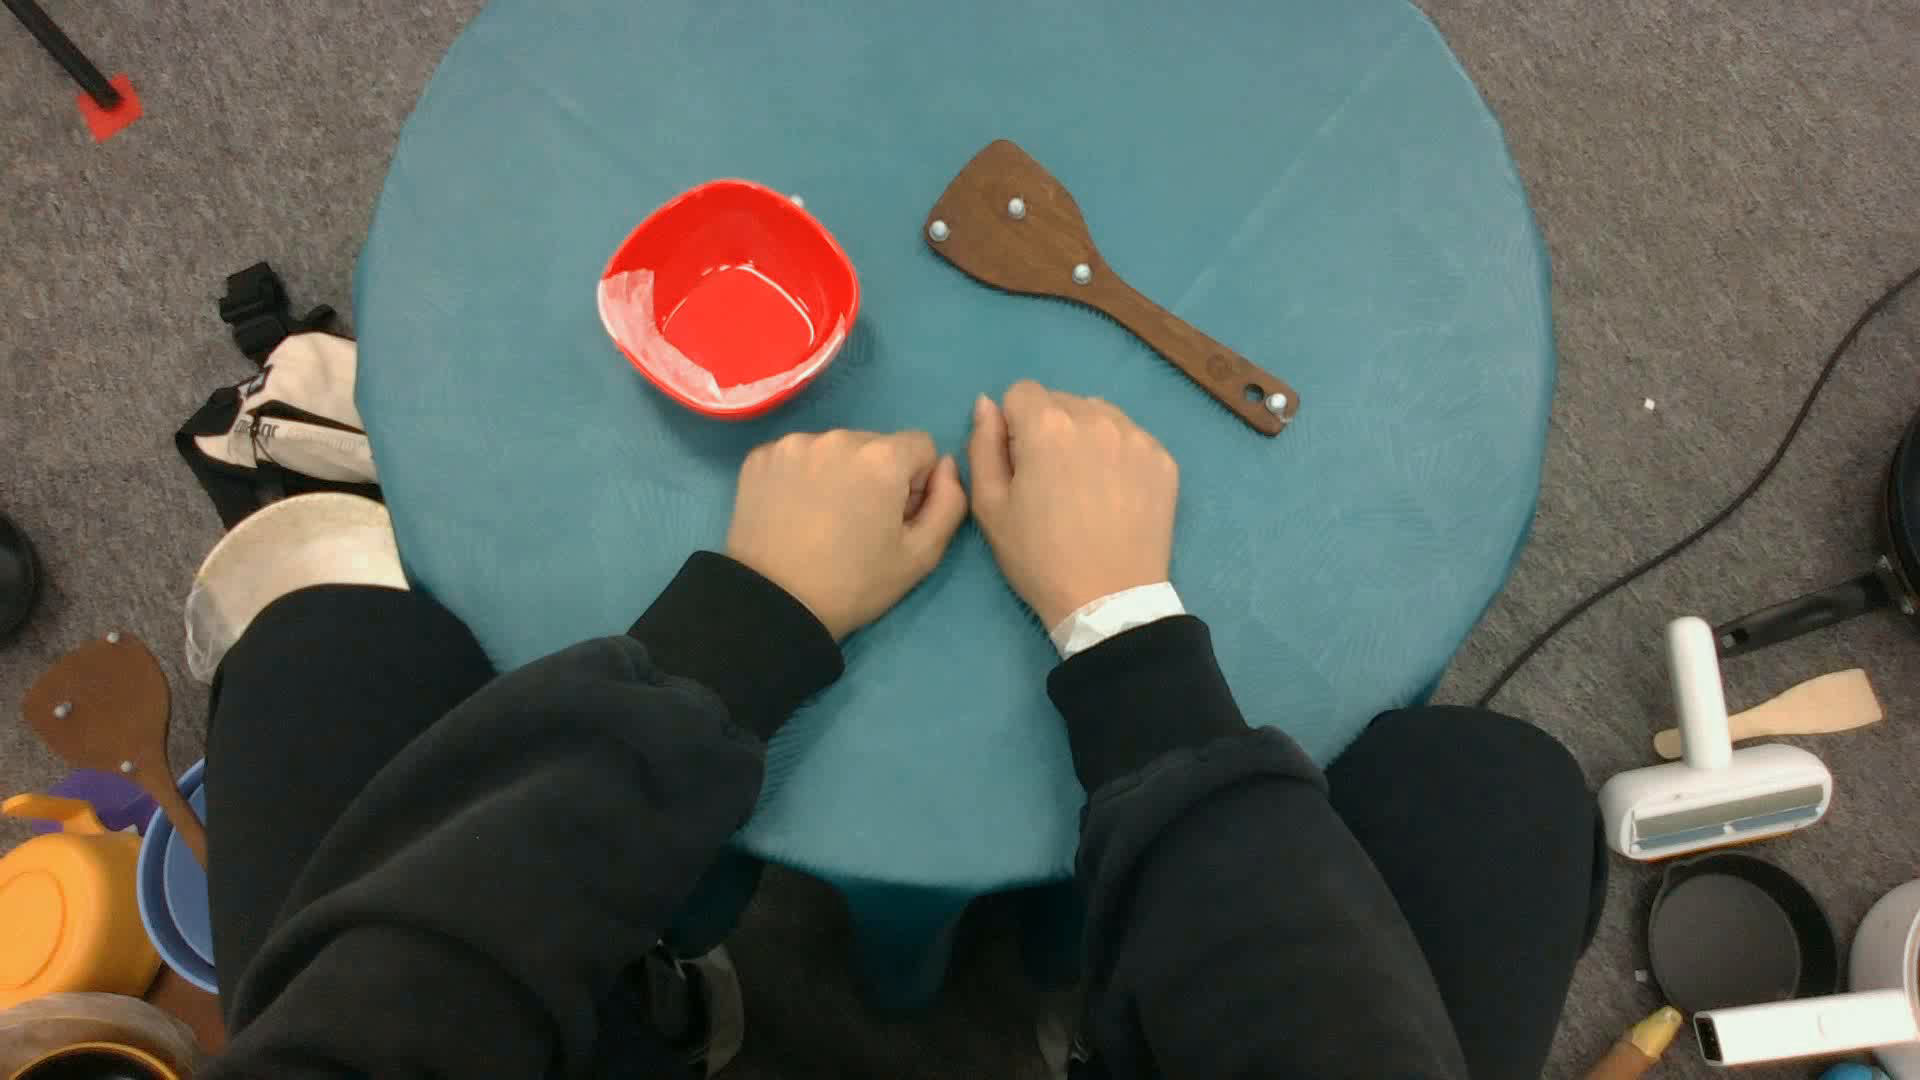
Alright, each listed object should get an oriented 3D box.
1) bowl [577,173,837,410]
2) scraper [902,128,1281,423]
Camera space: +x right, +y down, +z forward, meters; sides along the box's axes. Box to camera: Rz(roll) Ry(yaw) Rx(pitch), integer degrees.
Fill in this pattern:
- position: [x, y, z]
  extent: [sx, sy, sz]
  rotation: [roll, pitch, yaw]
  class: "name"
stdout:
- position: [-0.118, -0.111, 0.657]
  extent: [0.119, 0.051, 0.119]
  rotation: [1, 71, -4]
  class: "bowl"
- position: [0.070, -0.127, 0.694]
  extent: [0.211, 0.011, 0.076]
  rotation: [36, 75, 7]
  class: "scraper"
